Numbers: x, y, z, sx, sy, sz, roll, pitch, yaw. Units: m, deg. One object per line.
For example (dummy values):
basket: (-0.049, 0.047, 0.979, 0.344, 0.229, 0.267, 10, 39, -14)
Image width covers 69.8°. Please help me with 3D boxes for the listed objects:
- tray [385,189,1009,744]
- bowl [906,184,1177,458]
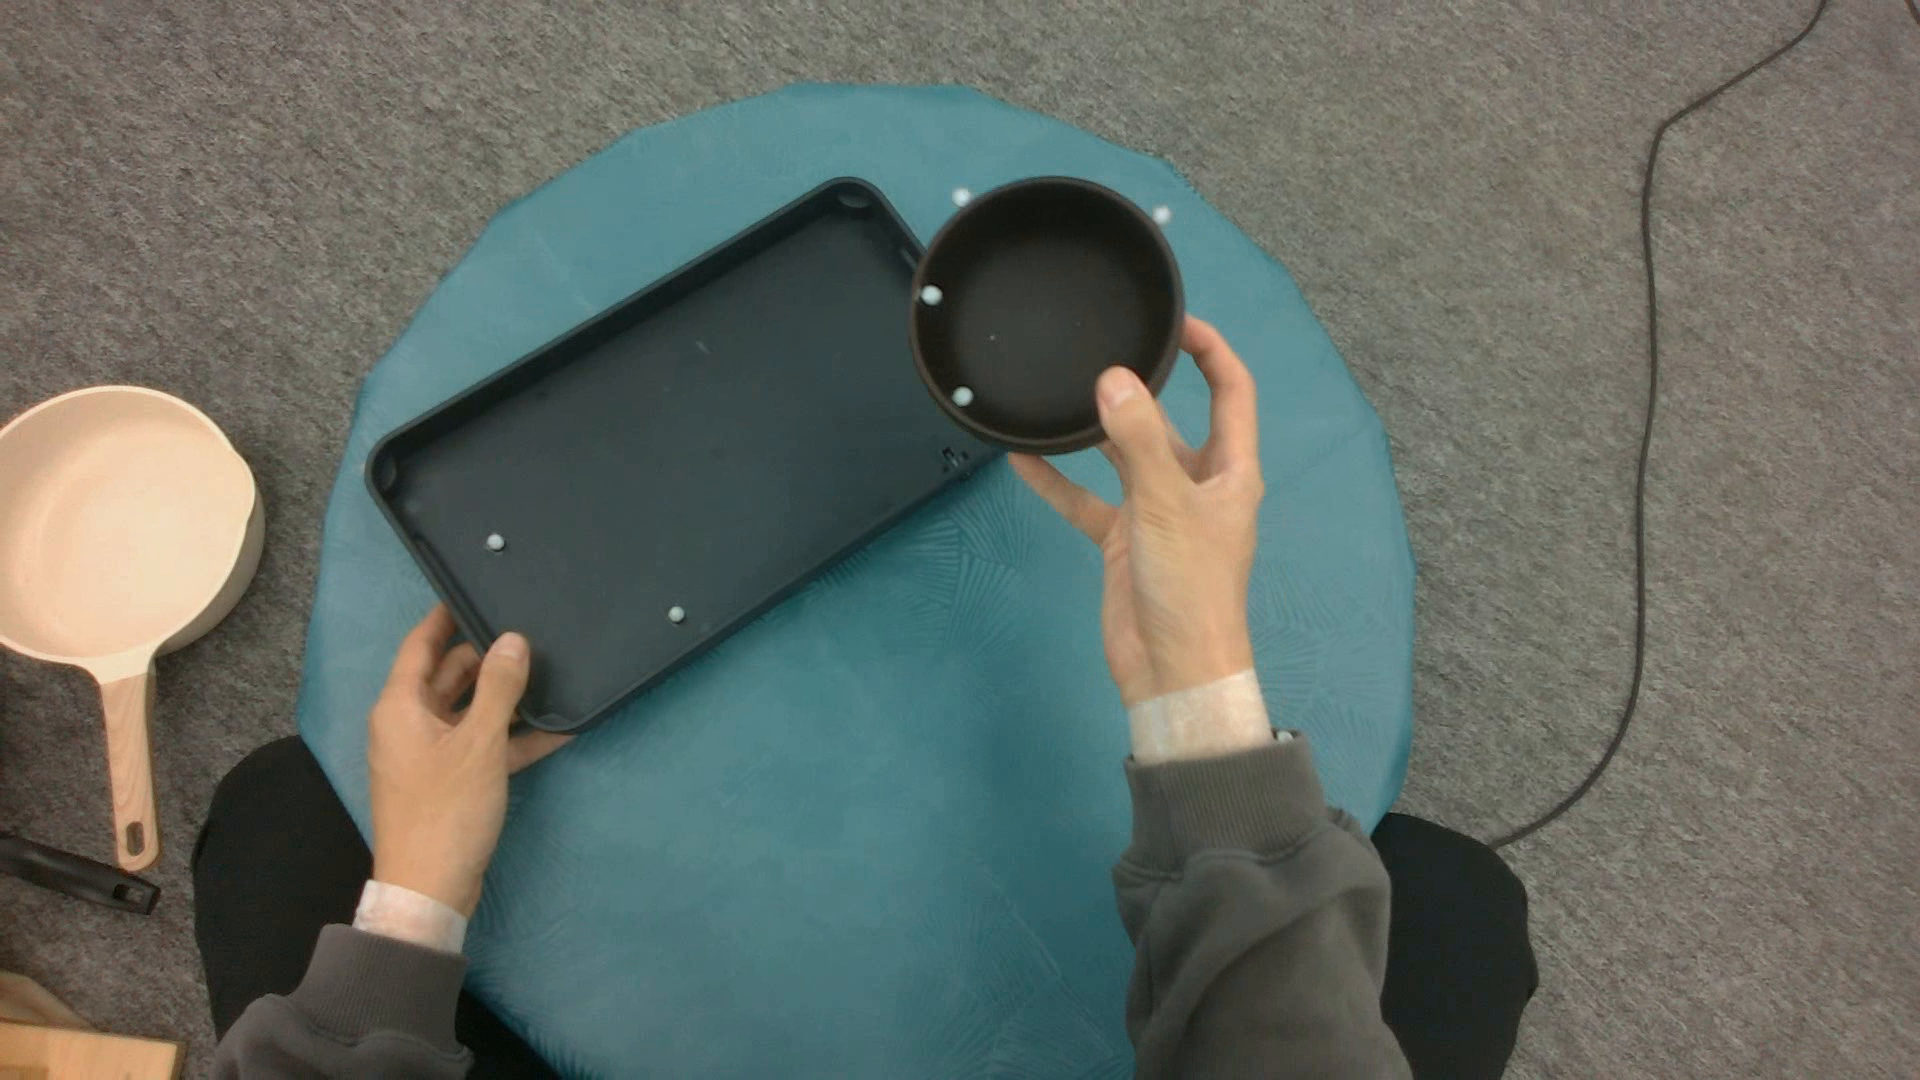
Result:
tray: (-0.130, -0.046, 0.757, 0.319, 0.037, 0.184, -36, 81, -15)
bowl: (0.039, -0.094, 0.620, 0.118, 0.070, 0.118, 0, 88, 11)
